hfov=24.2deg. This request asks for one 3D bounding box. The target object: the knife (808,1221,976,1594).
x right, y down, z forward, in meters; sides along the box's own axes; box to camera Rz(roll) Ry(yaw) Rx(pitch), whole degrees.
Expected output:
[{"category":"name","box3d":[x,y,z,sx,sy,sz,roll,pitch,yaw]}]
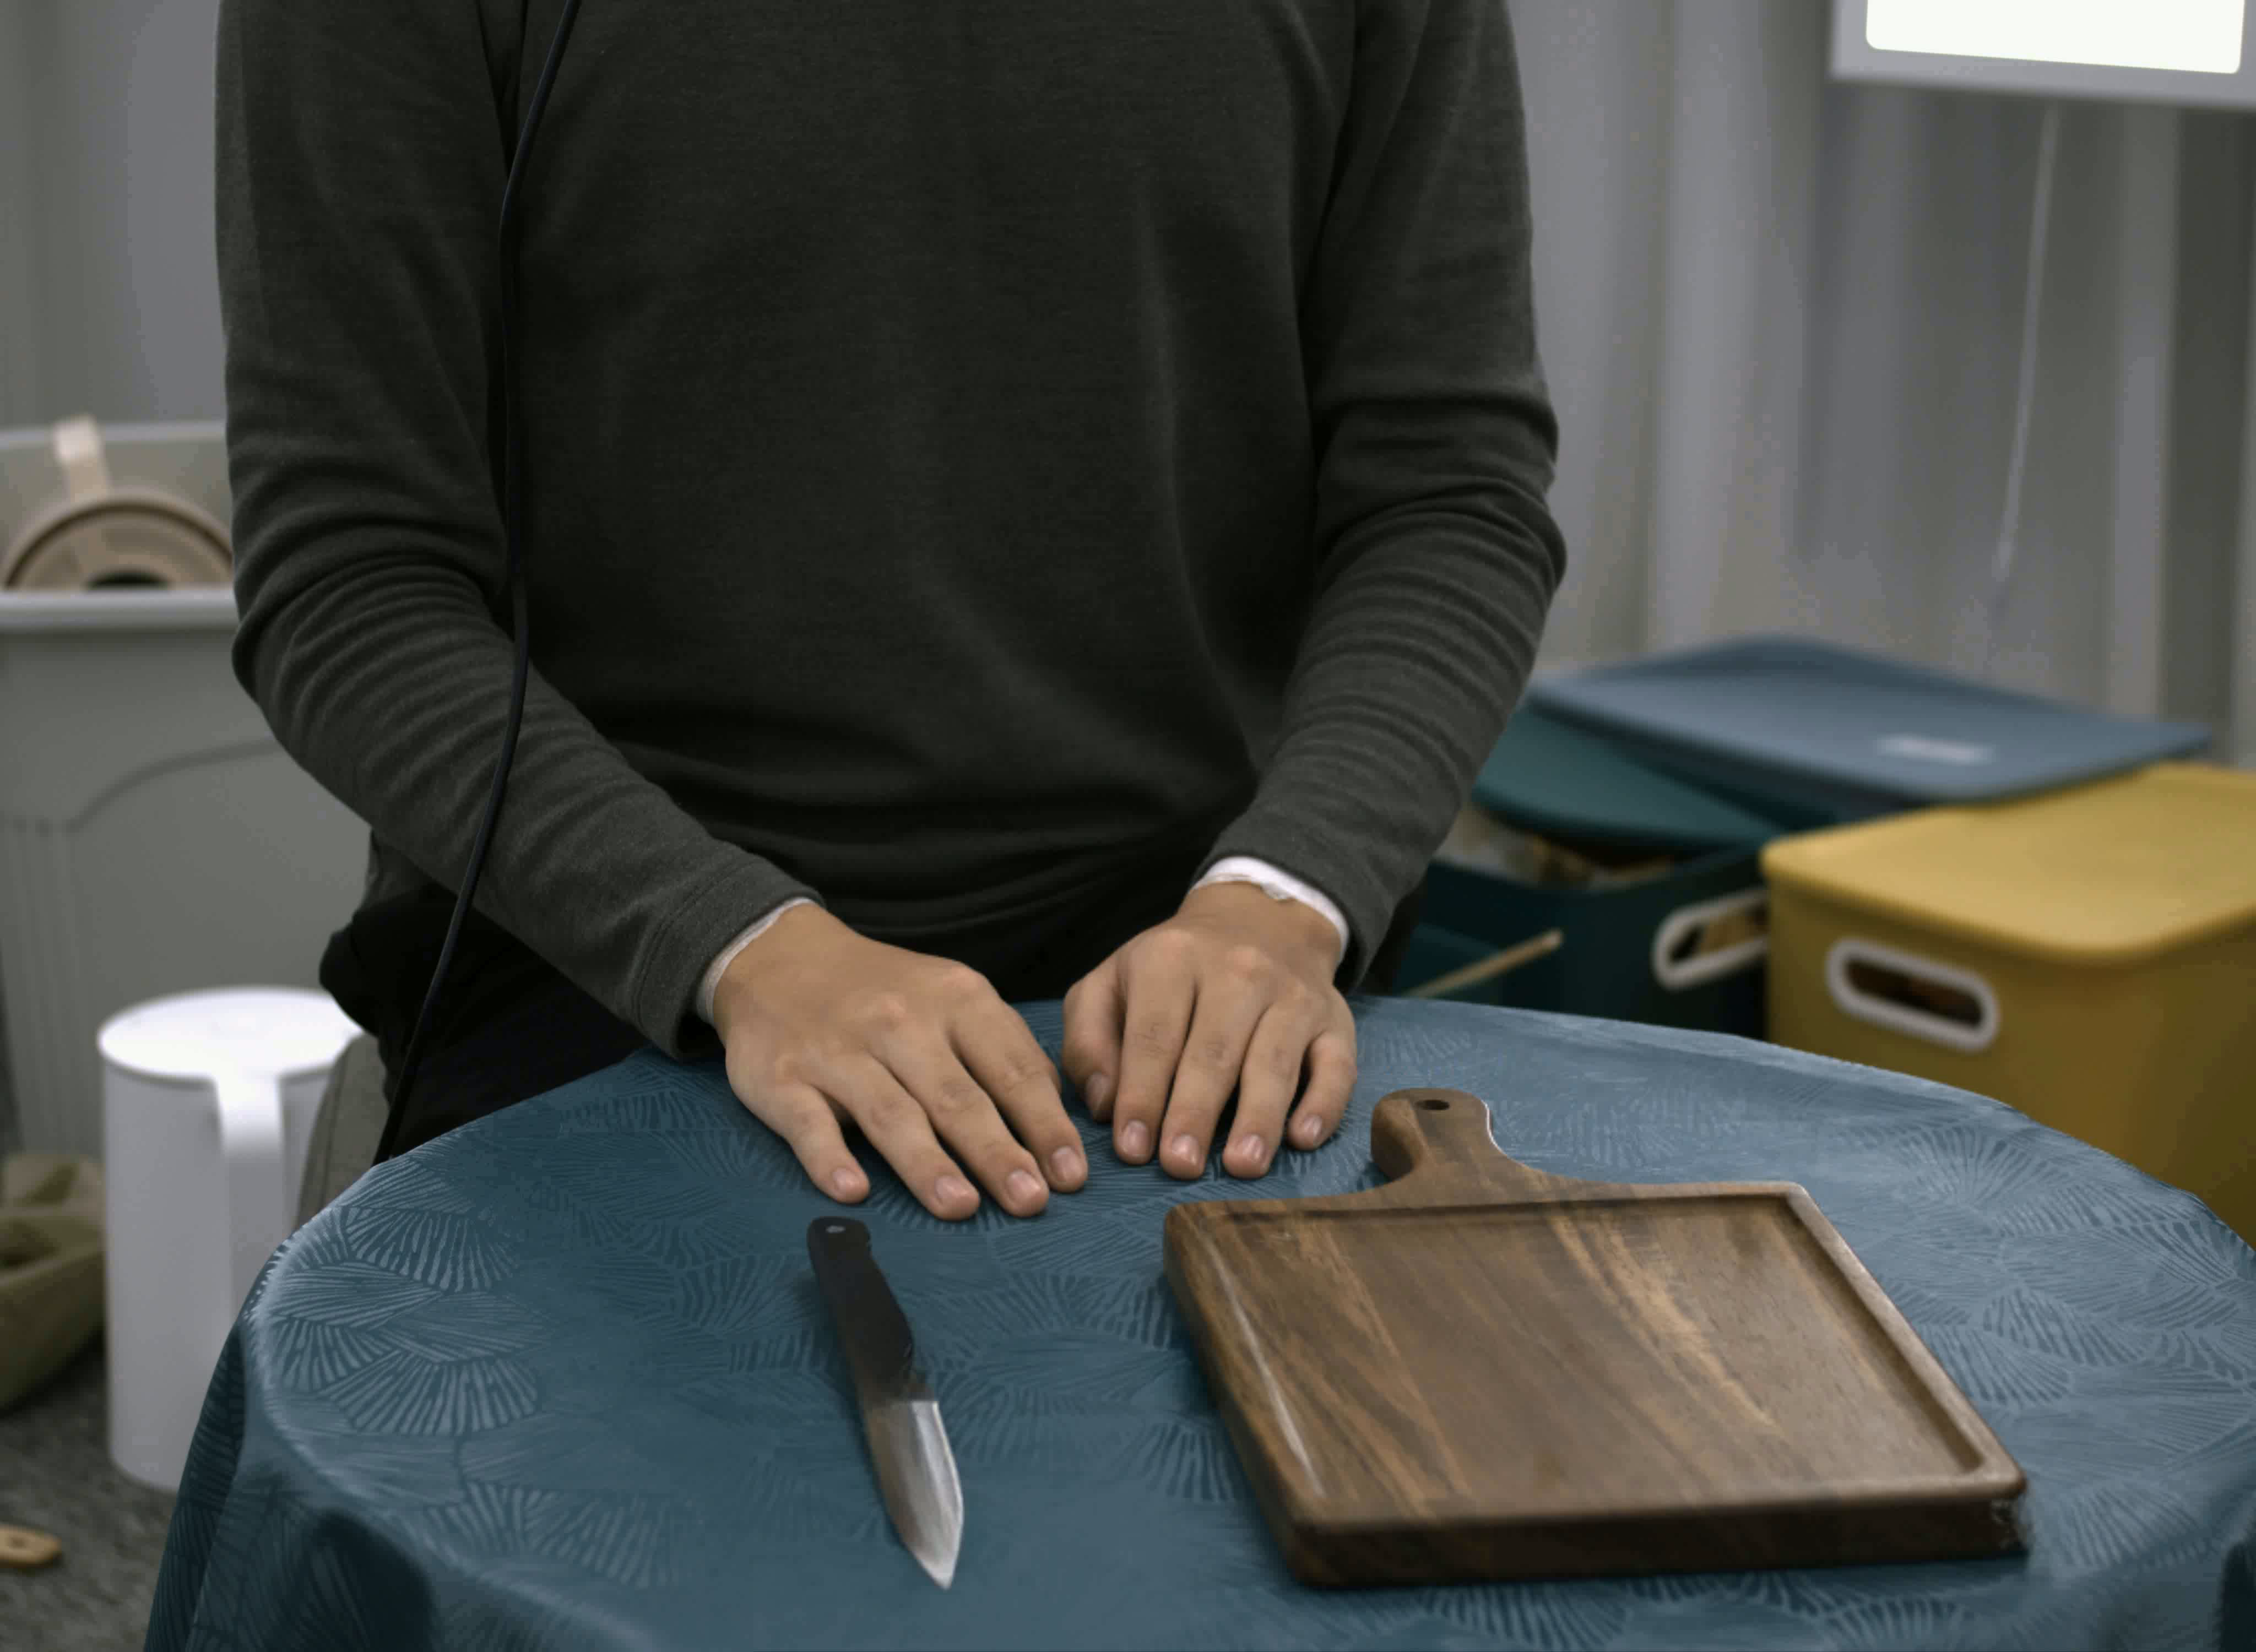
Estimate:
[{"category":"knife","box3d":[-0.066,0.157,1.437,0.024,0.016,0.236,-5,19,-9]}]

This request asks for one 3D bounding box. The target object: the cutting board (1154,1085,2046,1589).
[{"category":"cutting board","box3d":[0.116,0.136,1.503,0.201,0.023,0.349,-1,15,-8]}]
